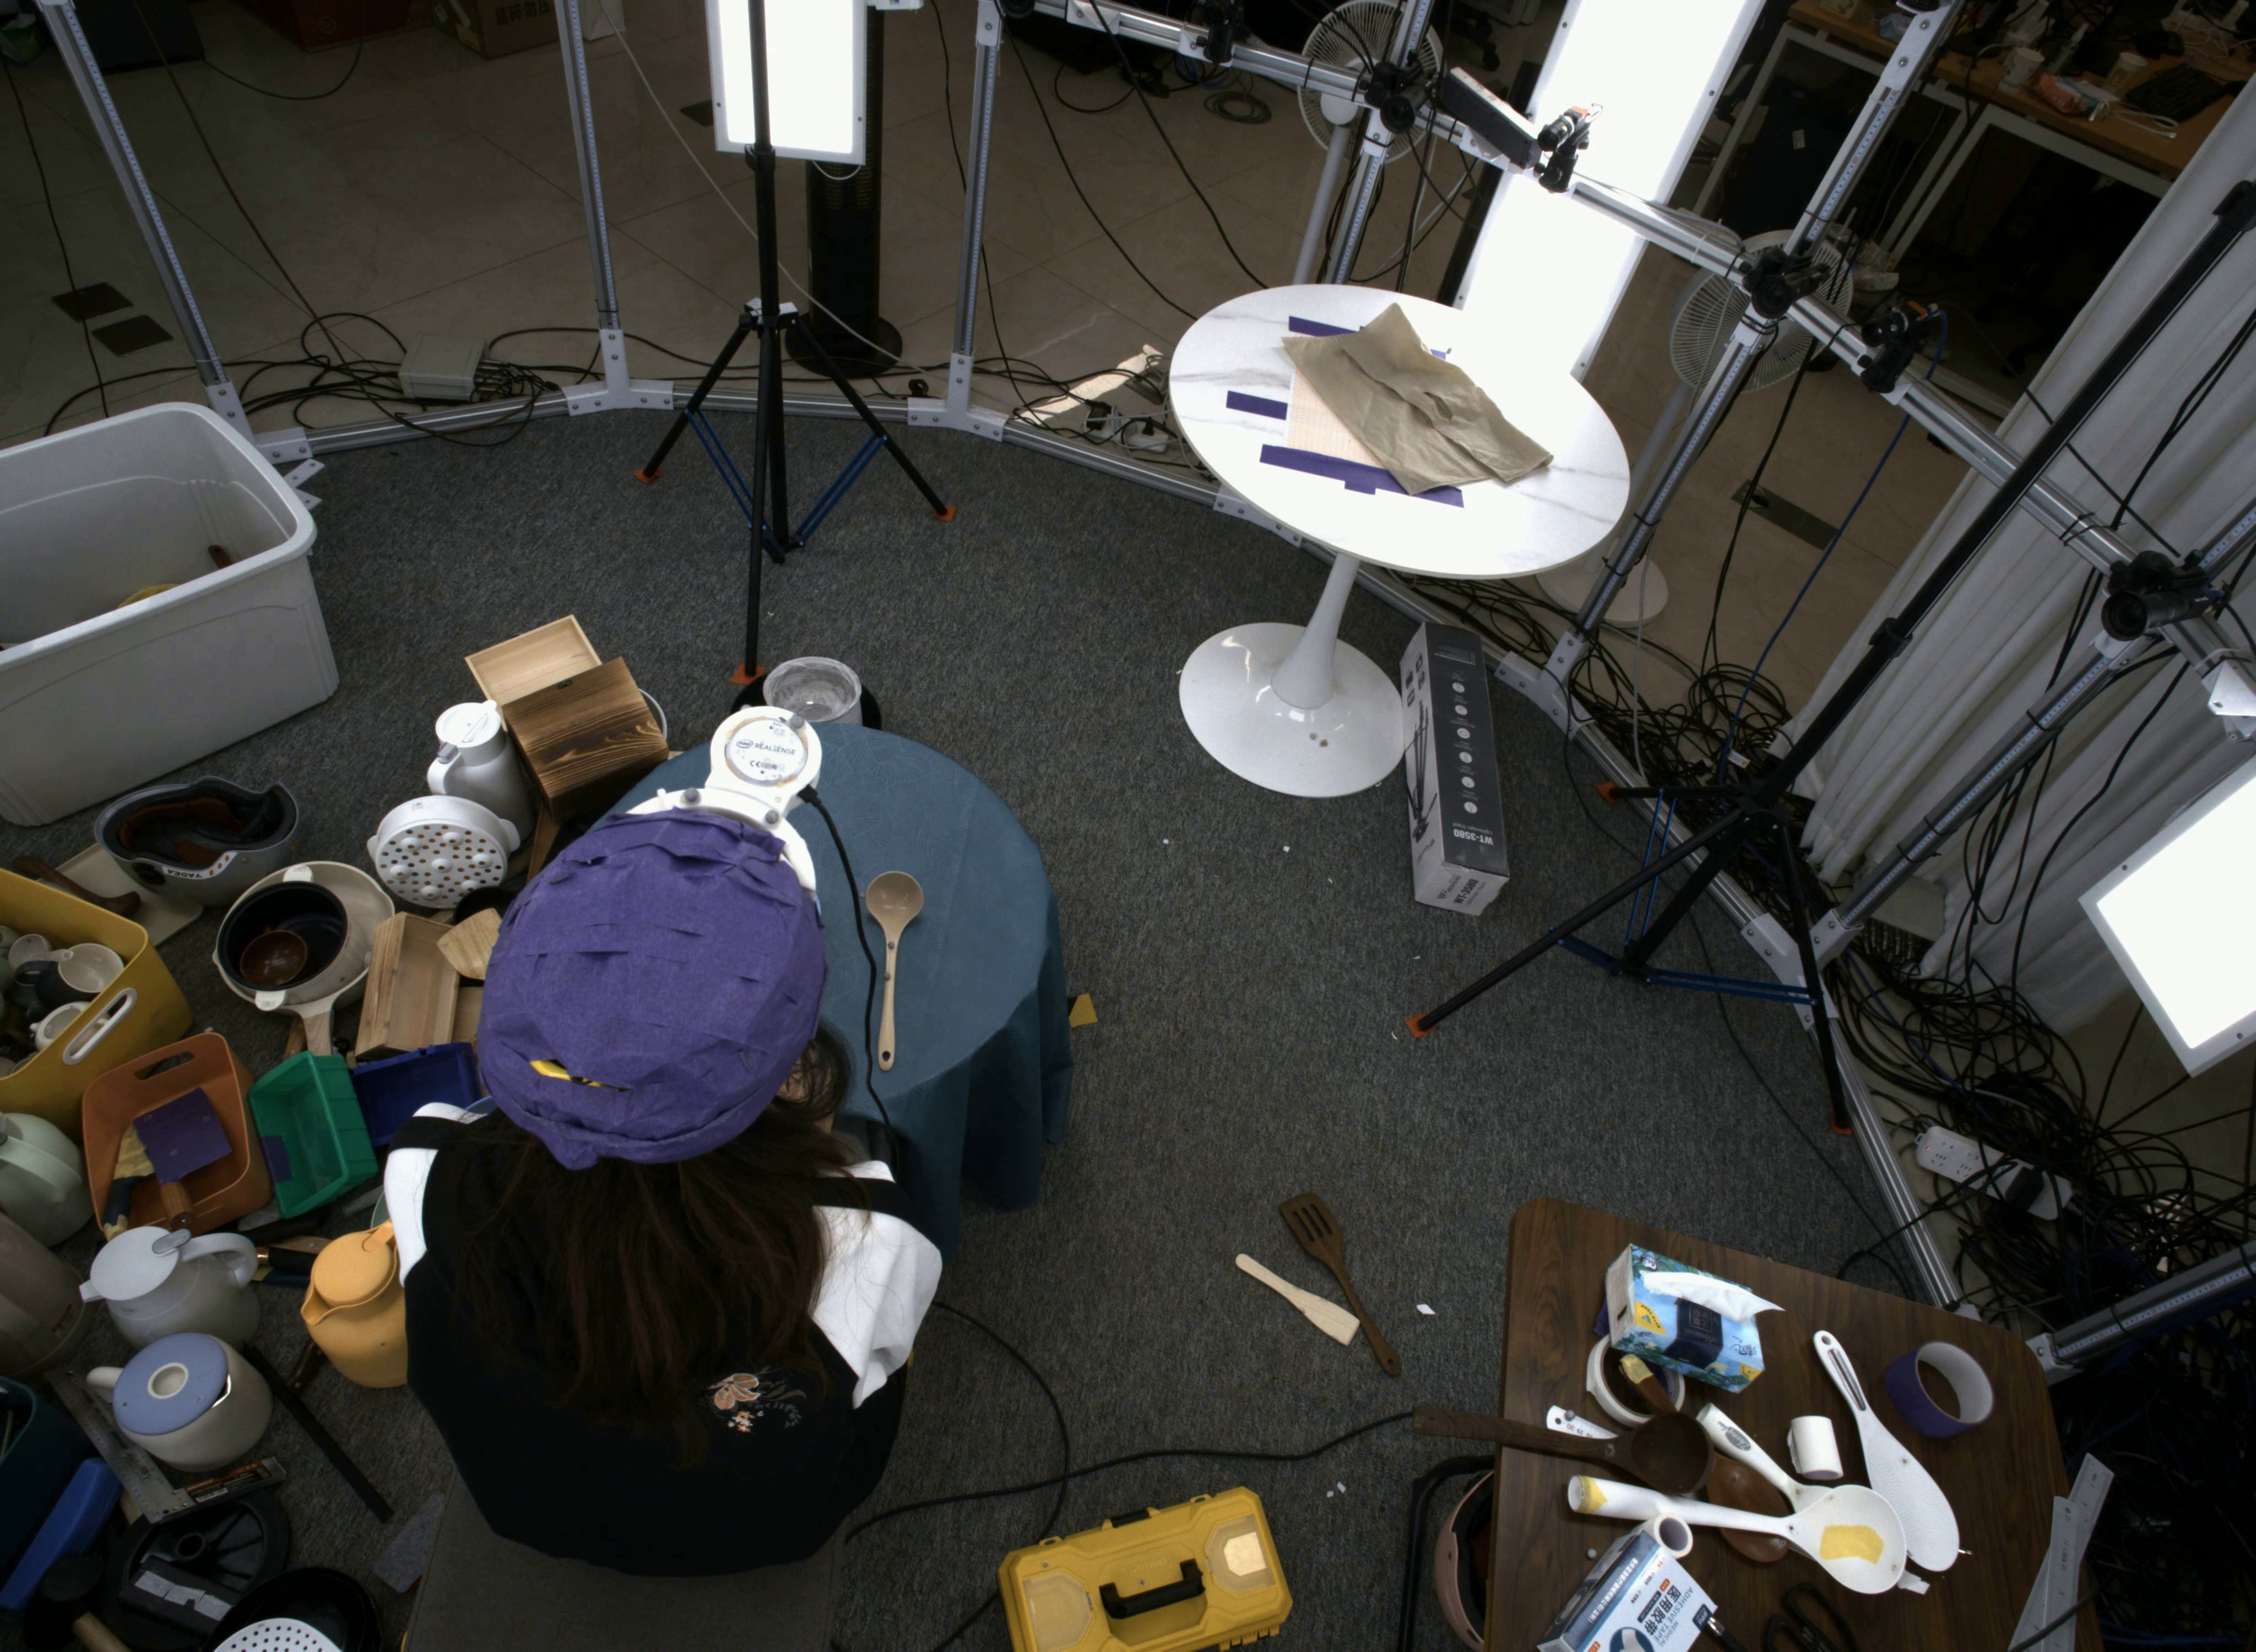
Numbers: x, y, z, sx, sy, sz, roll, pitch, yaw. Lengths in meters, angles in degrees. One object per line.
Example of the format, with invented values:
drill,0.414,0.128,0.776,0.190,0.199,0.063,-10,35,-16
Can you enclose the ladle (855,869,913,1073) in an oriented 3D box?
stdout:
ladle,-0.296,0.166,1.581,0.072,0.074,0.249,1,54,-13

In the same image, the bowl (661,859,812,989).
bowl,-0.471,0.128,1.566,0.175,0.072,0.173,7,52,-8
